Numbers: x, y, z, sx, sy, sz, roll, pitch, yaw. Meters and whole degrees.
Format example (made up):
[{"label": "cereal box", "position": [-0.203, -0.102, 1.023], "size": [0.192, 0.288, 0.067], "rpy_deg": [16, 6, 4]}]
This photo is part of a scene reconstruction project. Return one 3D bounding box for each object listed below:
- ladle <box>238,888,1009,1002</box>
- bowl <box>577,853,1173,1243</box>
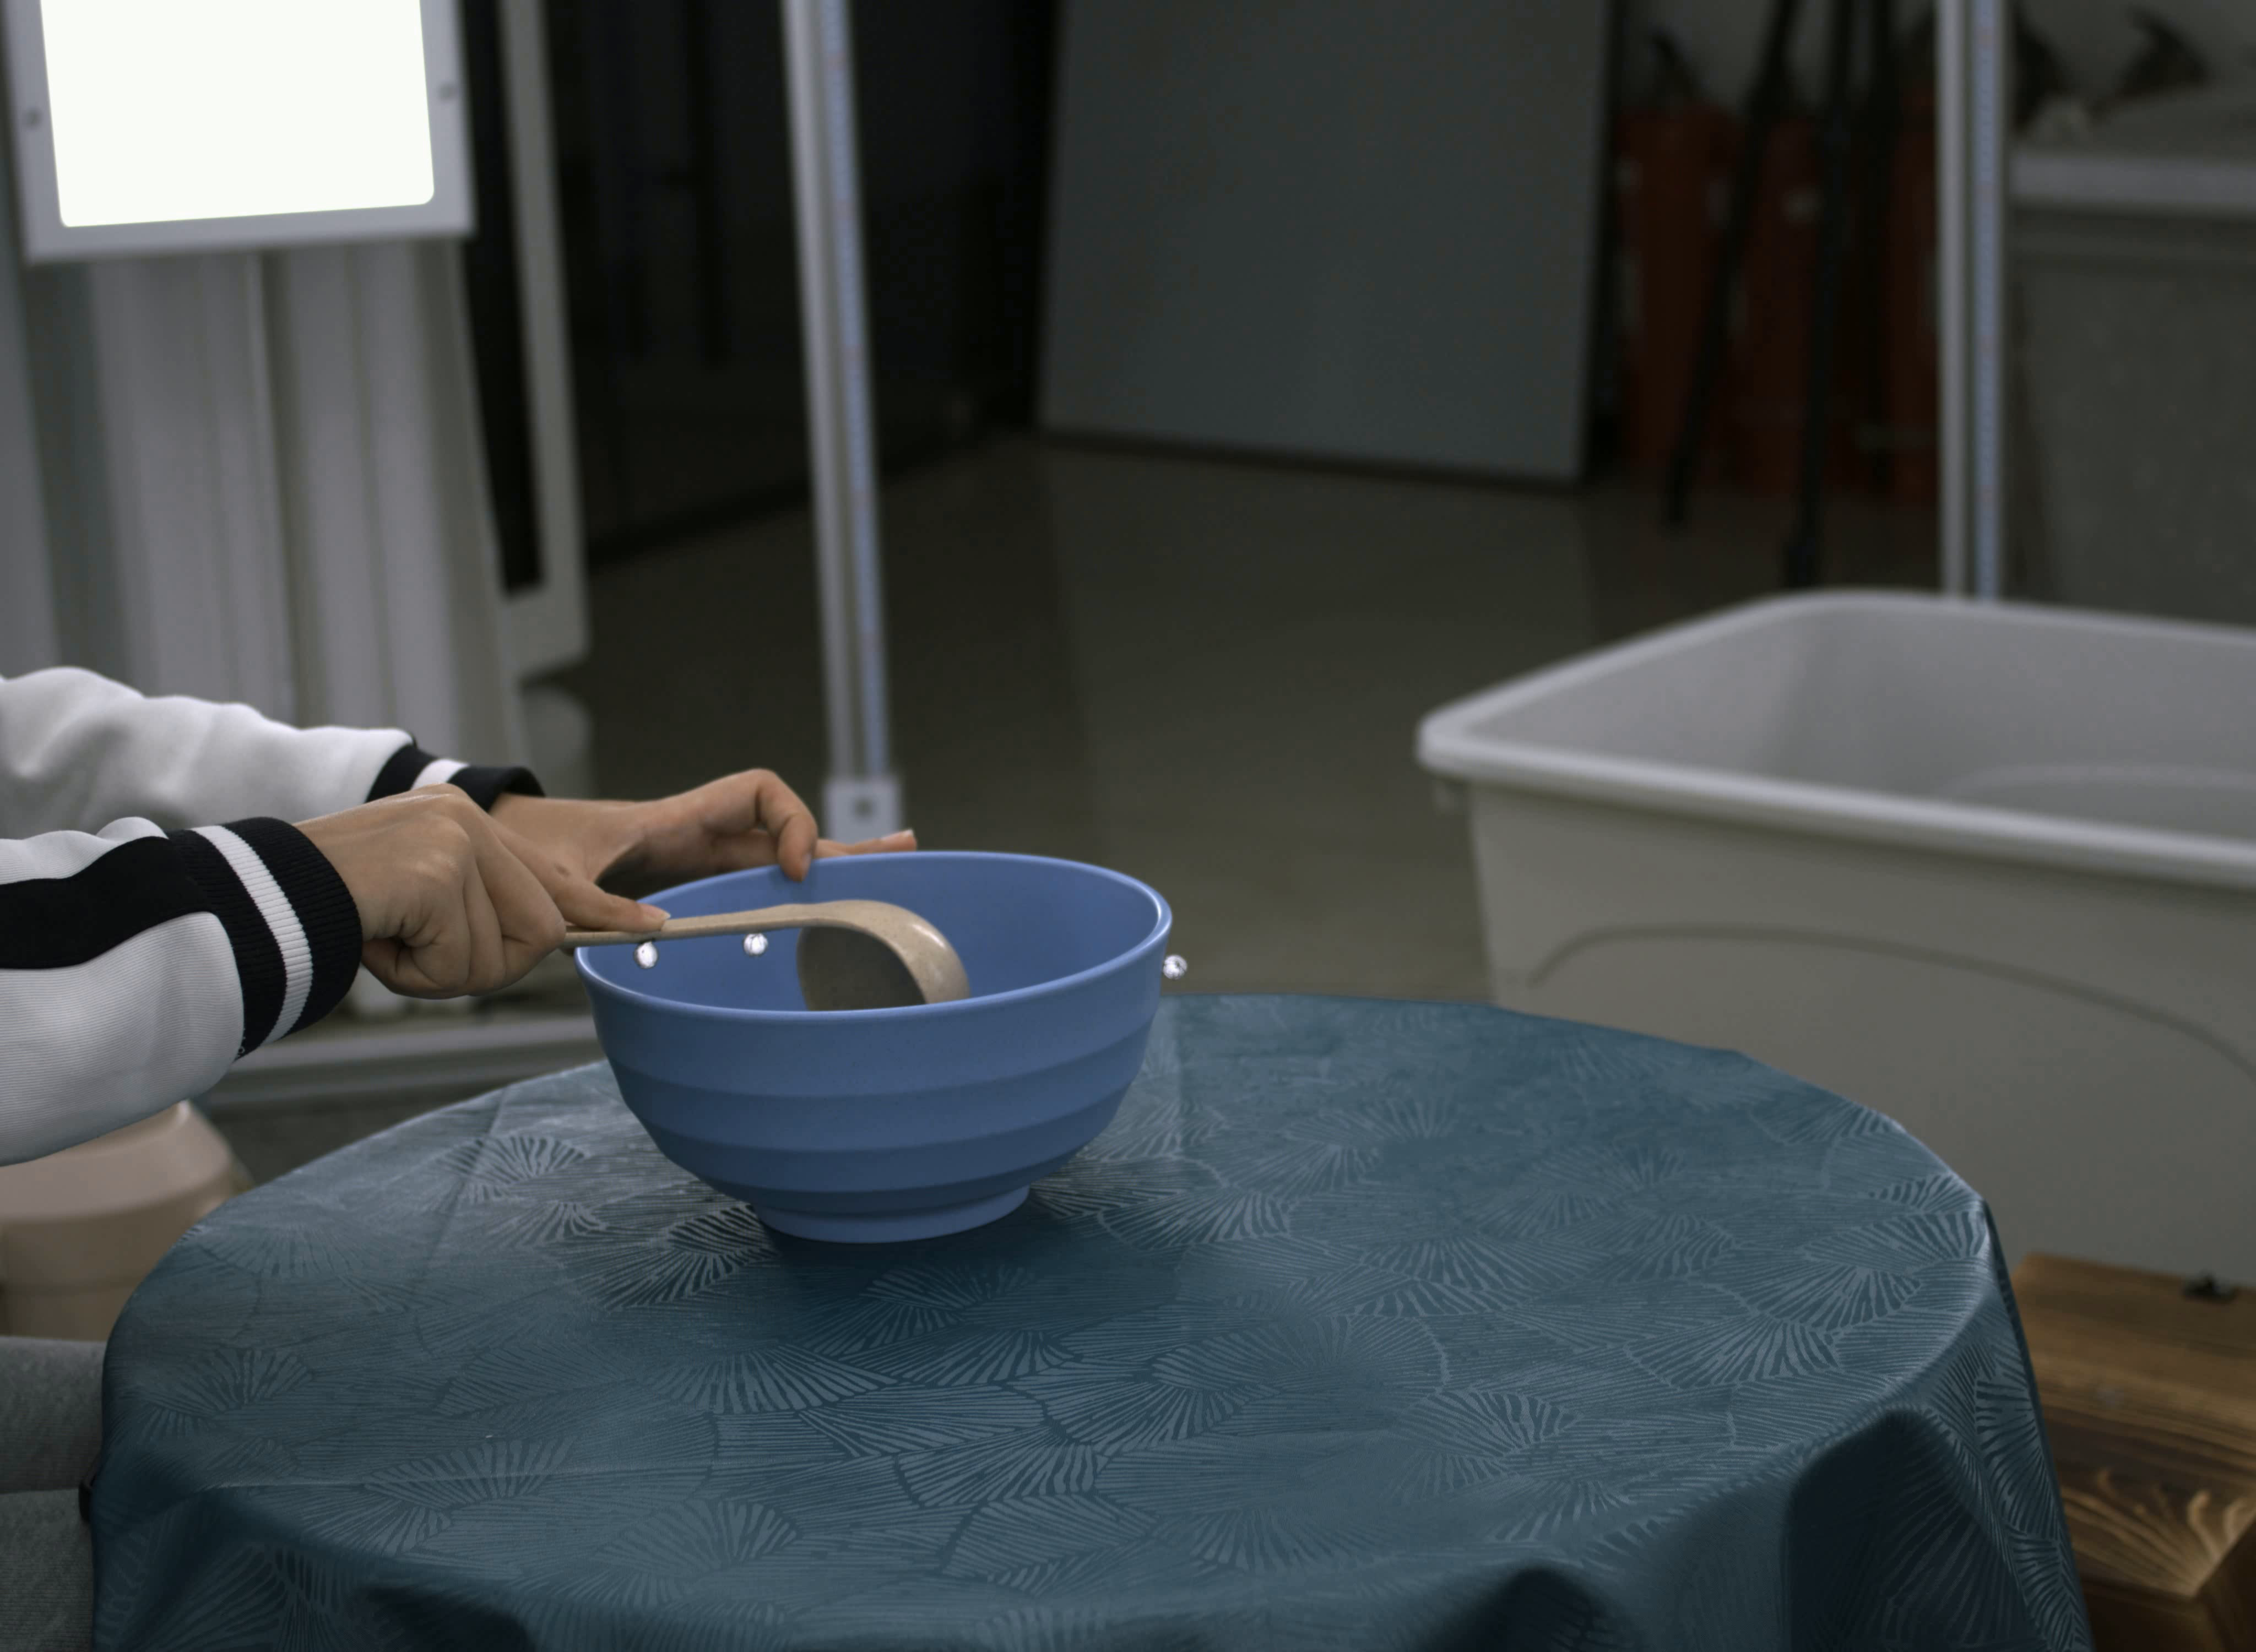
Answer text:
[{"label": "ladle", "position": [-0.154, 0.057, 1.705], "size": [0.248, 0.073, 0.074], "rpy_deg": [3, 53, -27]}, {"label": "bowl", "position": [-0.081, 0.077, 1.767], "size": [0.194, 0.096, 0.197], "rpy_deg": [-1, 13, -1]}]
